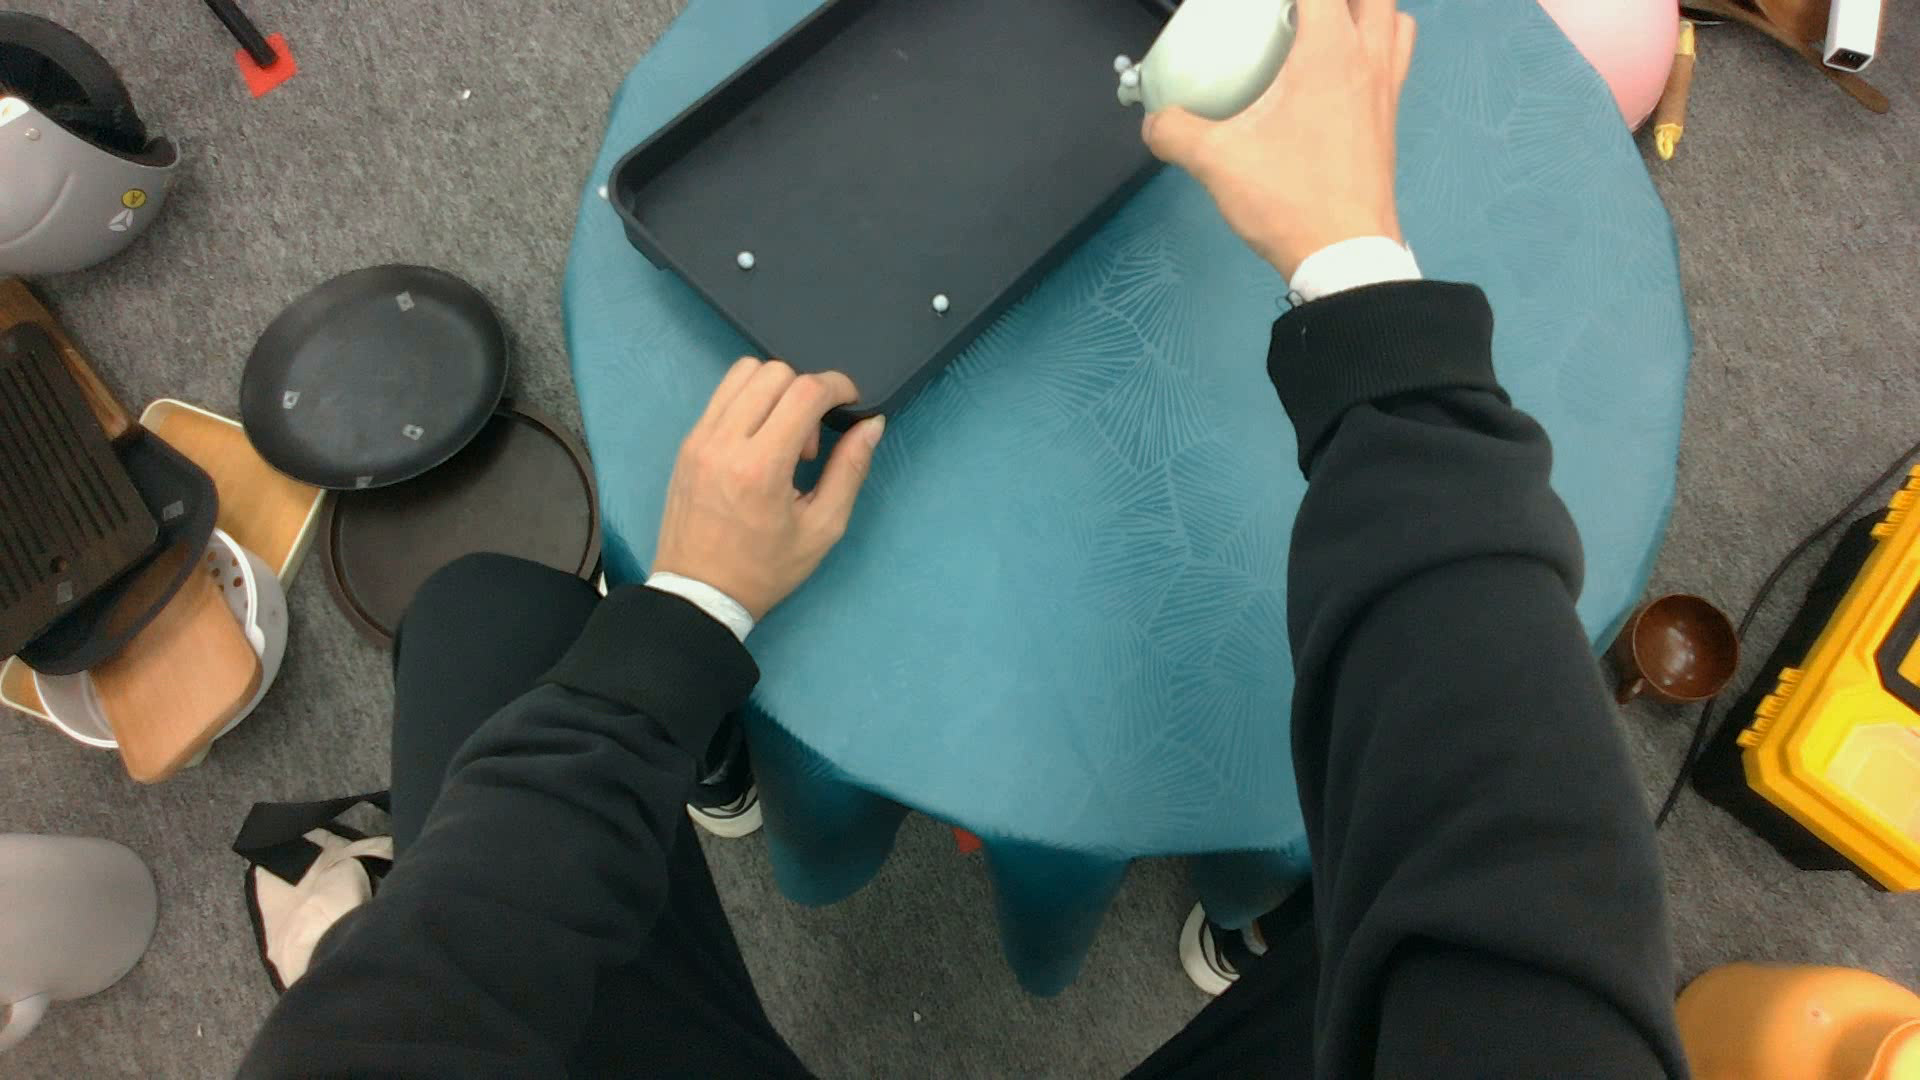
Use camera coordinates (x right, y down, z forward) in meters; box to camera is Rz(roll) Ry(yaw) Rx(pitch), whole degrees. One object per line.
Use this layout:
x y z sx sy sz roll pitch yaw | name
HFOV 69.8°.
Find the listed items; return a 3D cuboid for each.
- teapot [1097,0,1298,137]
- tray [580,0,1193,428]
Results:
0.109 -0.226 0.618 0.075 0.143 0.088 32 75 1 | teapot
-0.025 -0.217 0.722 0.184 0.037 0.319 40 71 8 | tray
